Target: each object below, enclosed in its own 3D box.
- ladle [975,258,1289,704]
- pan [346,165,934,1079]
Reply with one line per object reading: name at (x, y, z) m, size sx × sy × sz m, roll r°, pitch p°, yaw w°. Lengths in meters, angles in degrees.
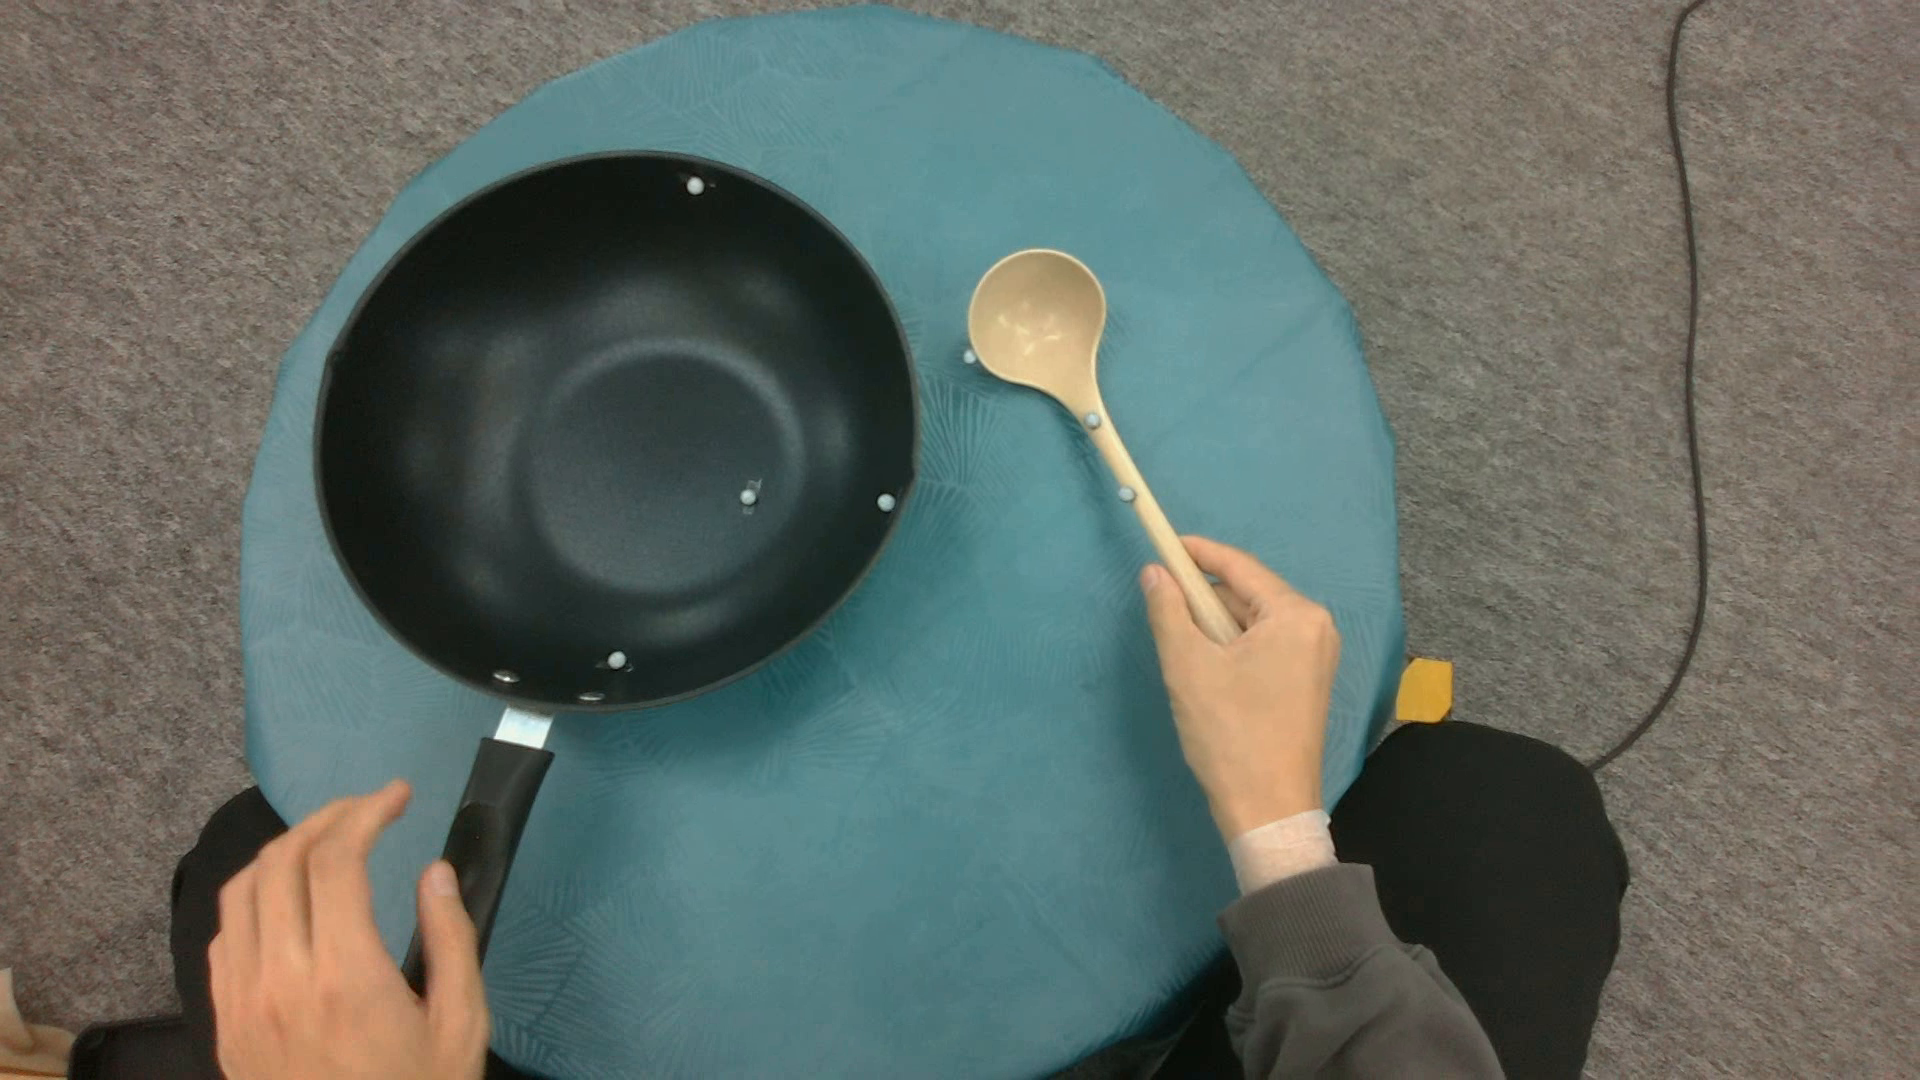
ladle at (0.084, -0.036, 0.671) m, size 0.072 × 0.072 × 0.255 m, roll -31°, pitch 61°, yaw 3°
pan at (-0.175, 0.041, 0.673) m, size 0.288 × 0.086 × 0.464 m, roll 12°, pitch 76°, yaw 5°
